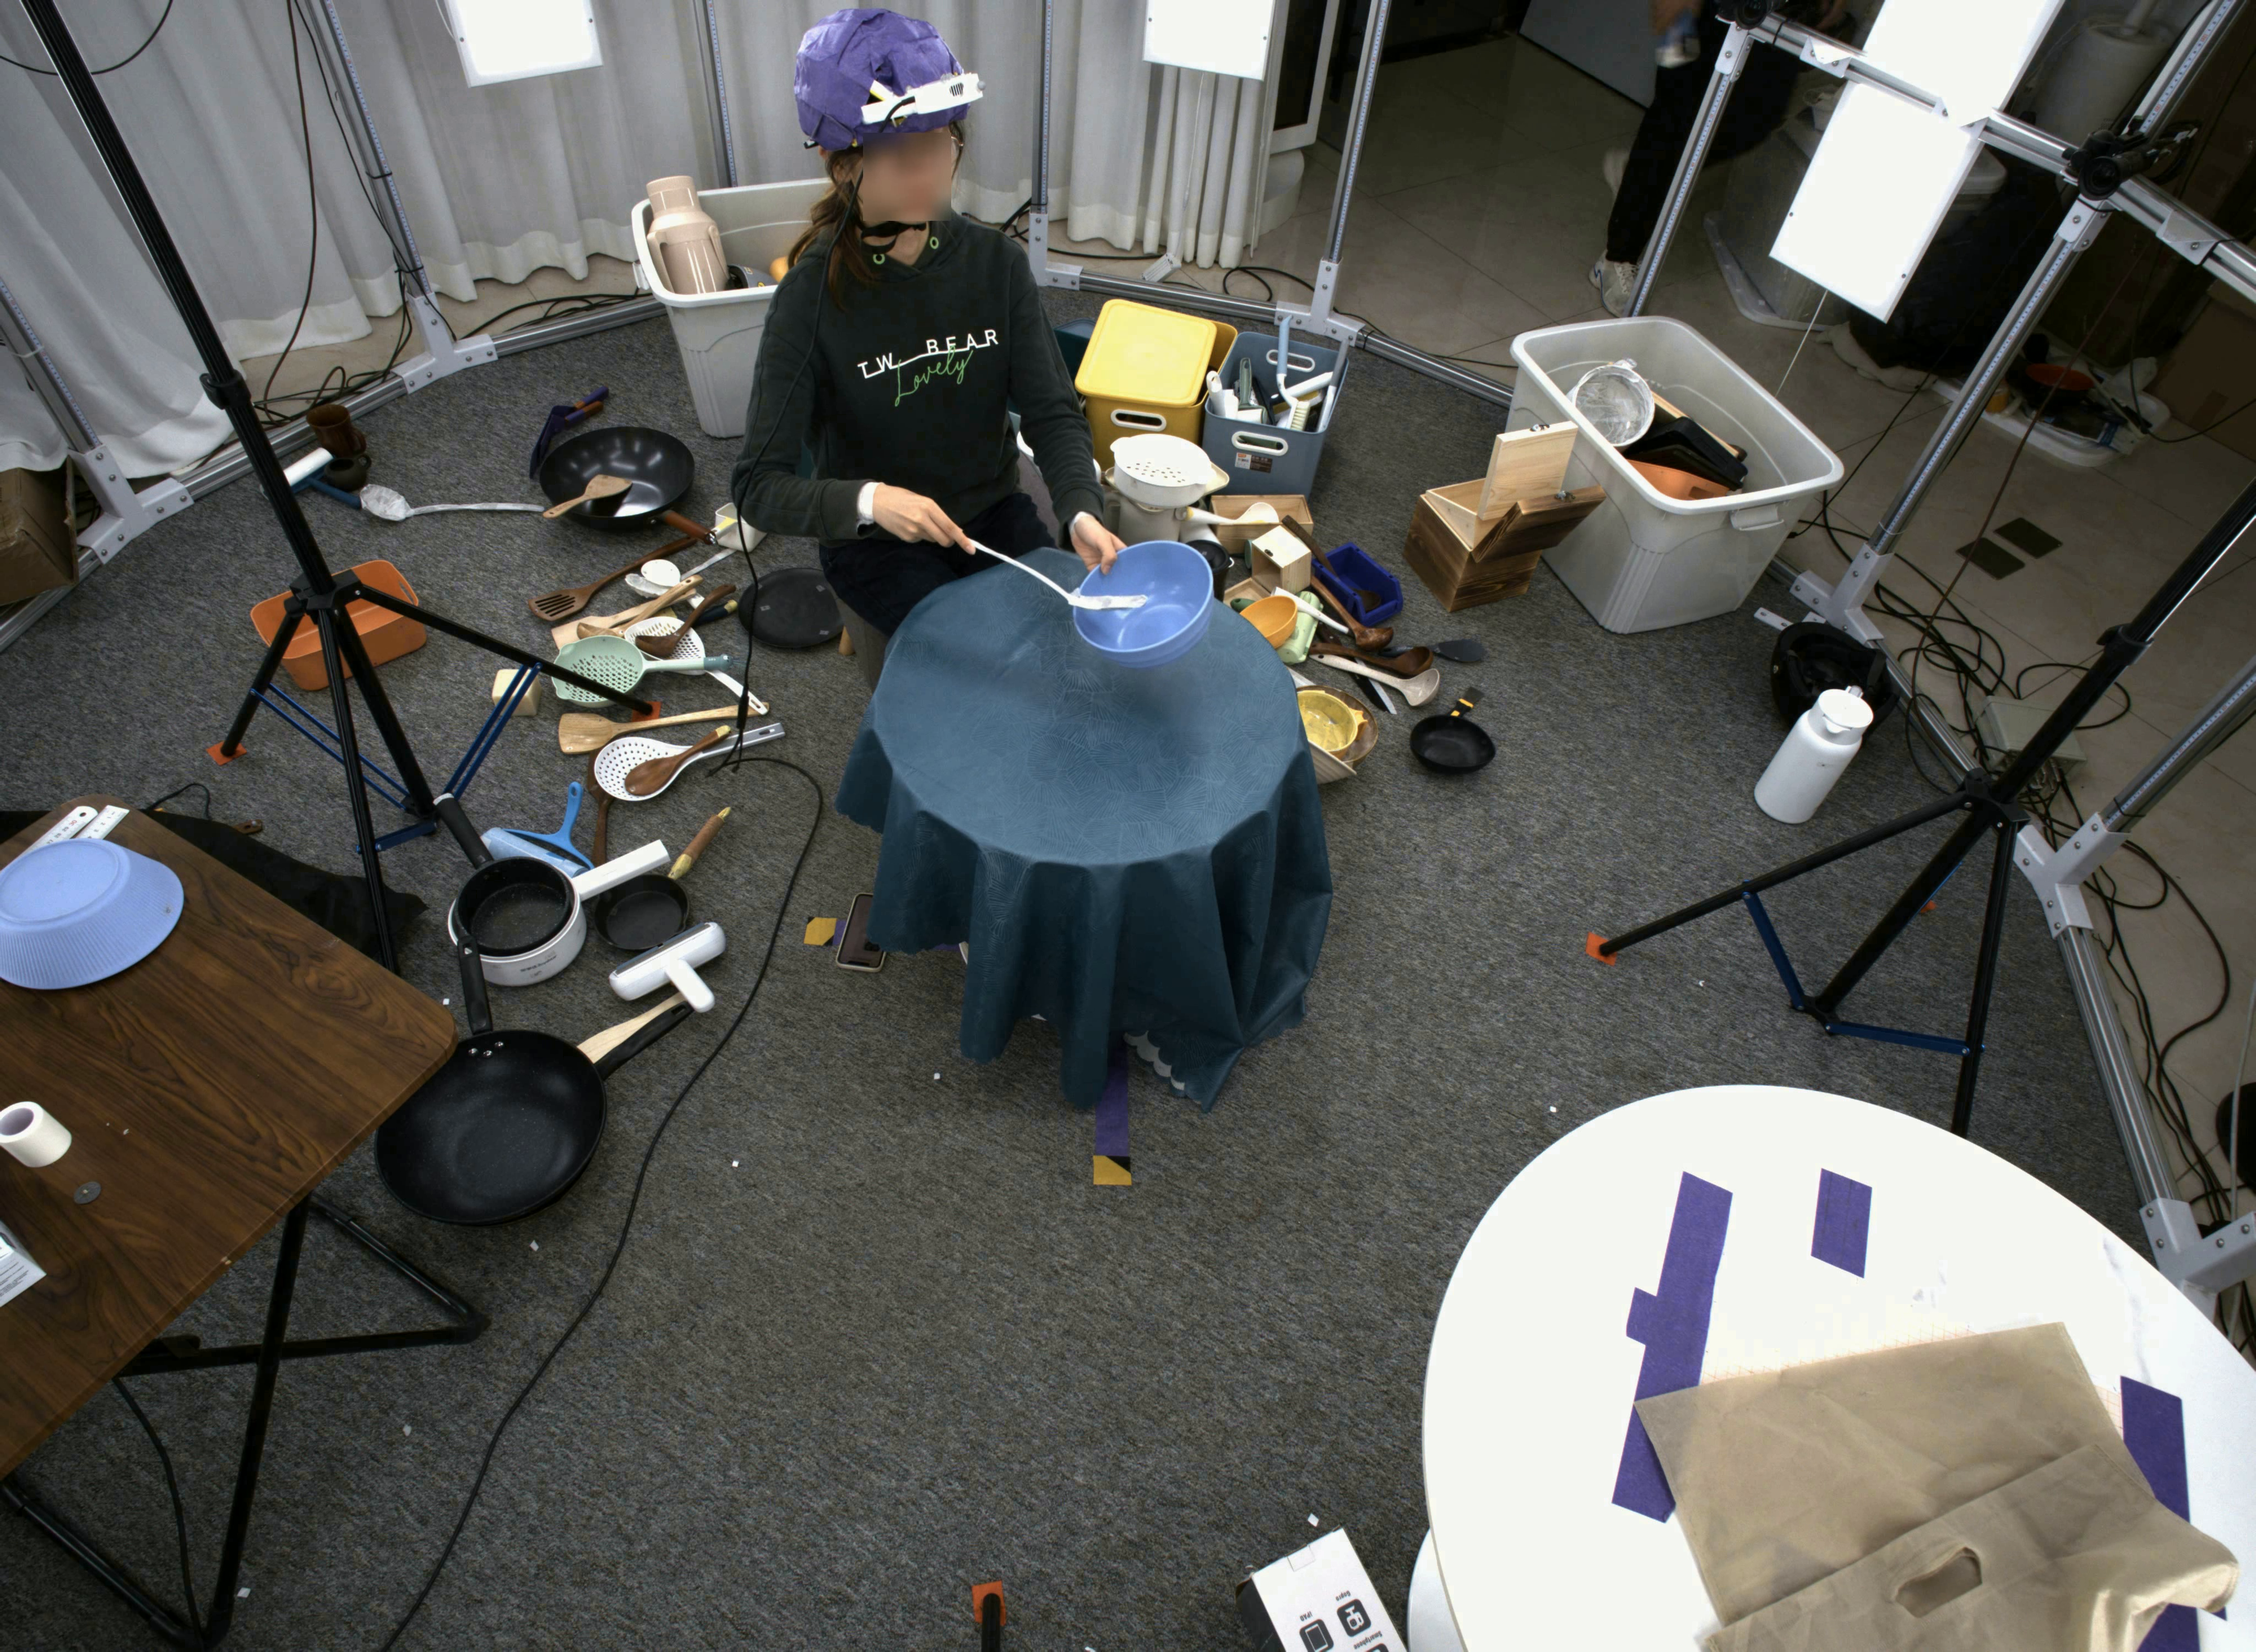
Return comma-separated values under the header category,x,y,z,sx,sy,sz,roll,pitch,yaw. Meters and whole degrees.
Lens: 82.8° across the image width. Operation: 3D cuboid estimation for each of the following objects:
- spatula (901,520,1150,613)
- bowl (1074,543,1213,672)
category,x,y,z,sx,sy,sz,roll,pitch,yaw
spatula,-0.145,-0.353,1.731,0.366,0.044,0.100,26,25,9
bowl,0.033,-0.285,1.767,0.196,0.093,0.201,-11,54,16
